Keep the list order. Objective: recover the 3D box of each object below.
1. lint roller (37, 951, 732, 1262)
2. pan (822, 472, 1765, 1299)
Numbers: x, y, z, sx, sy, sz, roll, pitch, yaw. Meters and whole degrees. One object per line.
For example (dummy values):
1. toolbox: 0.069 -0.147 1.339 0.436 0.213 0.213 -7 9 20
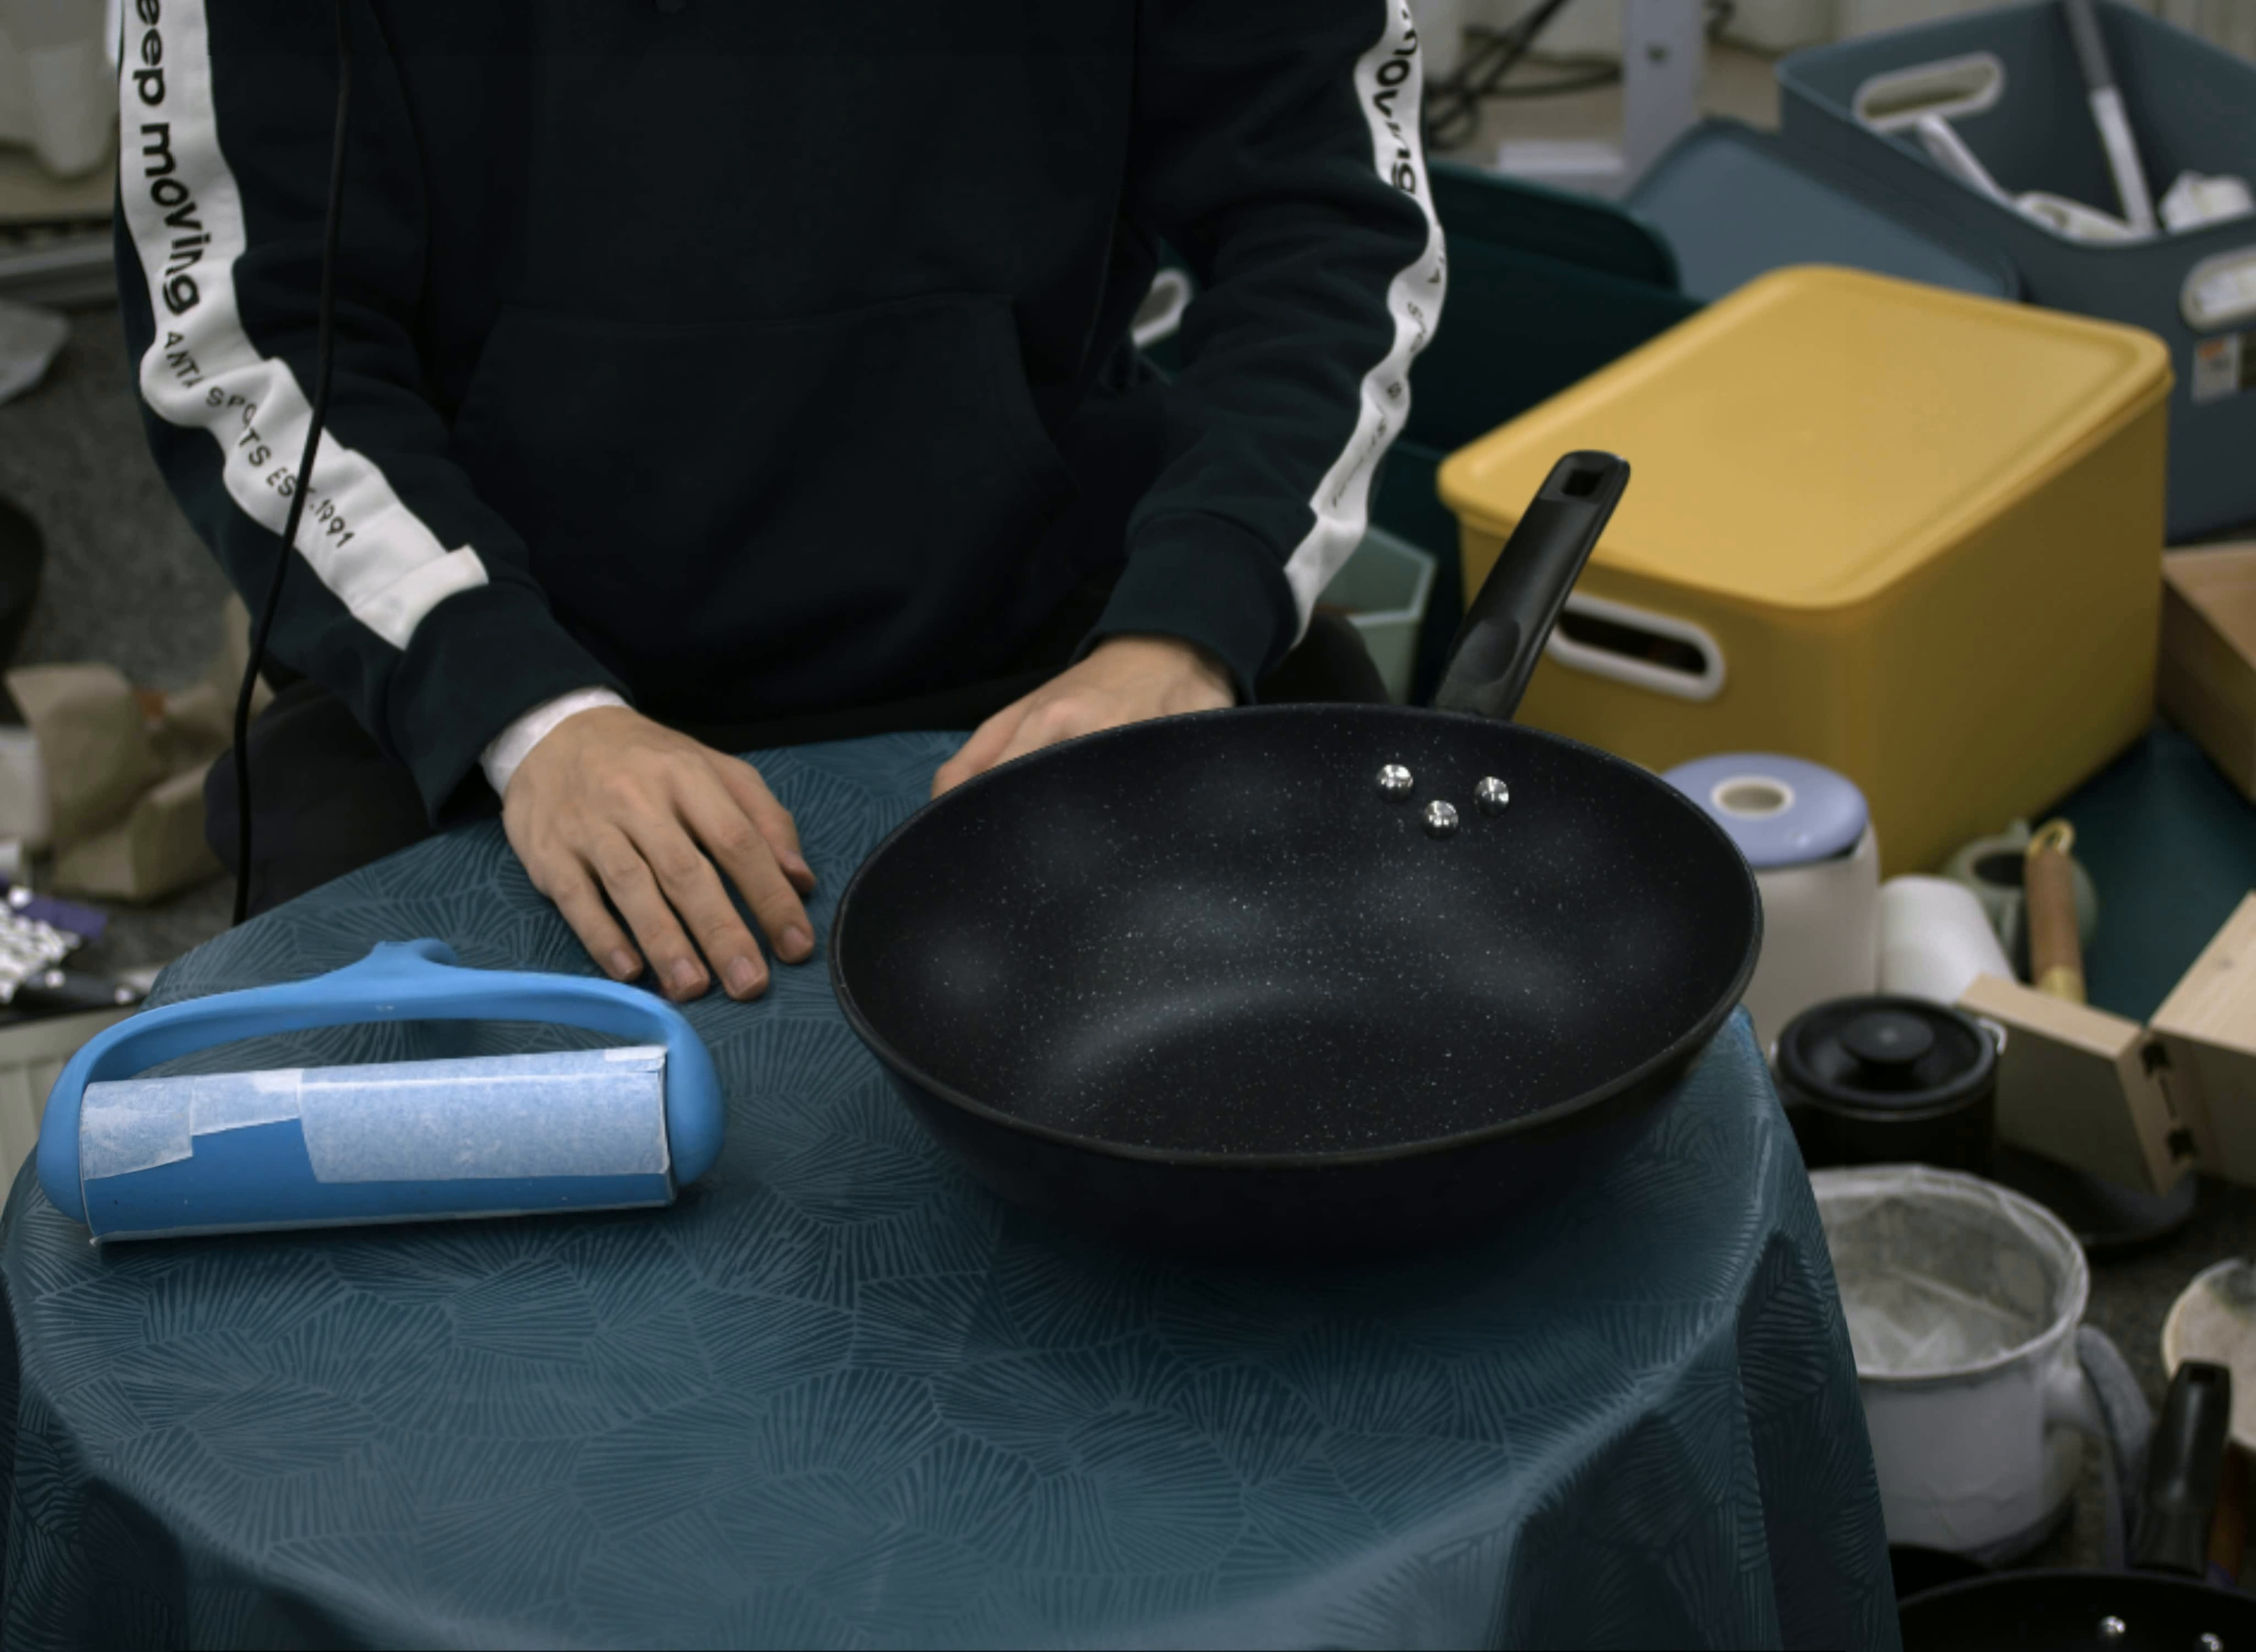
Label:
1. lint roller: -0.251 0.079 1.907 0.228 0.067 0.183 -7 29 -3
2. pan: 0.086 0.023 1.927 0.308 0.110 0.485 10 30 20
